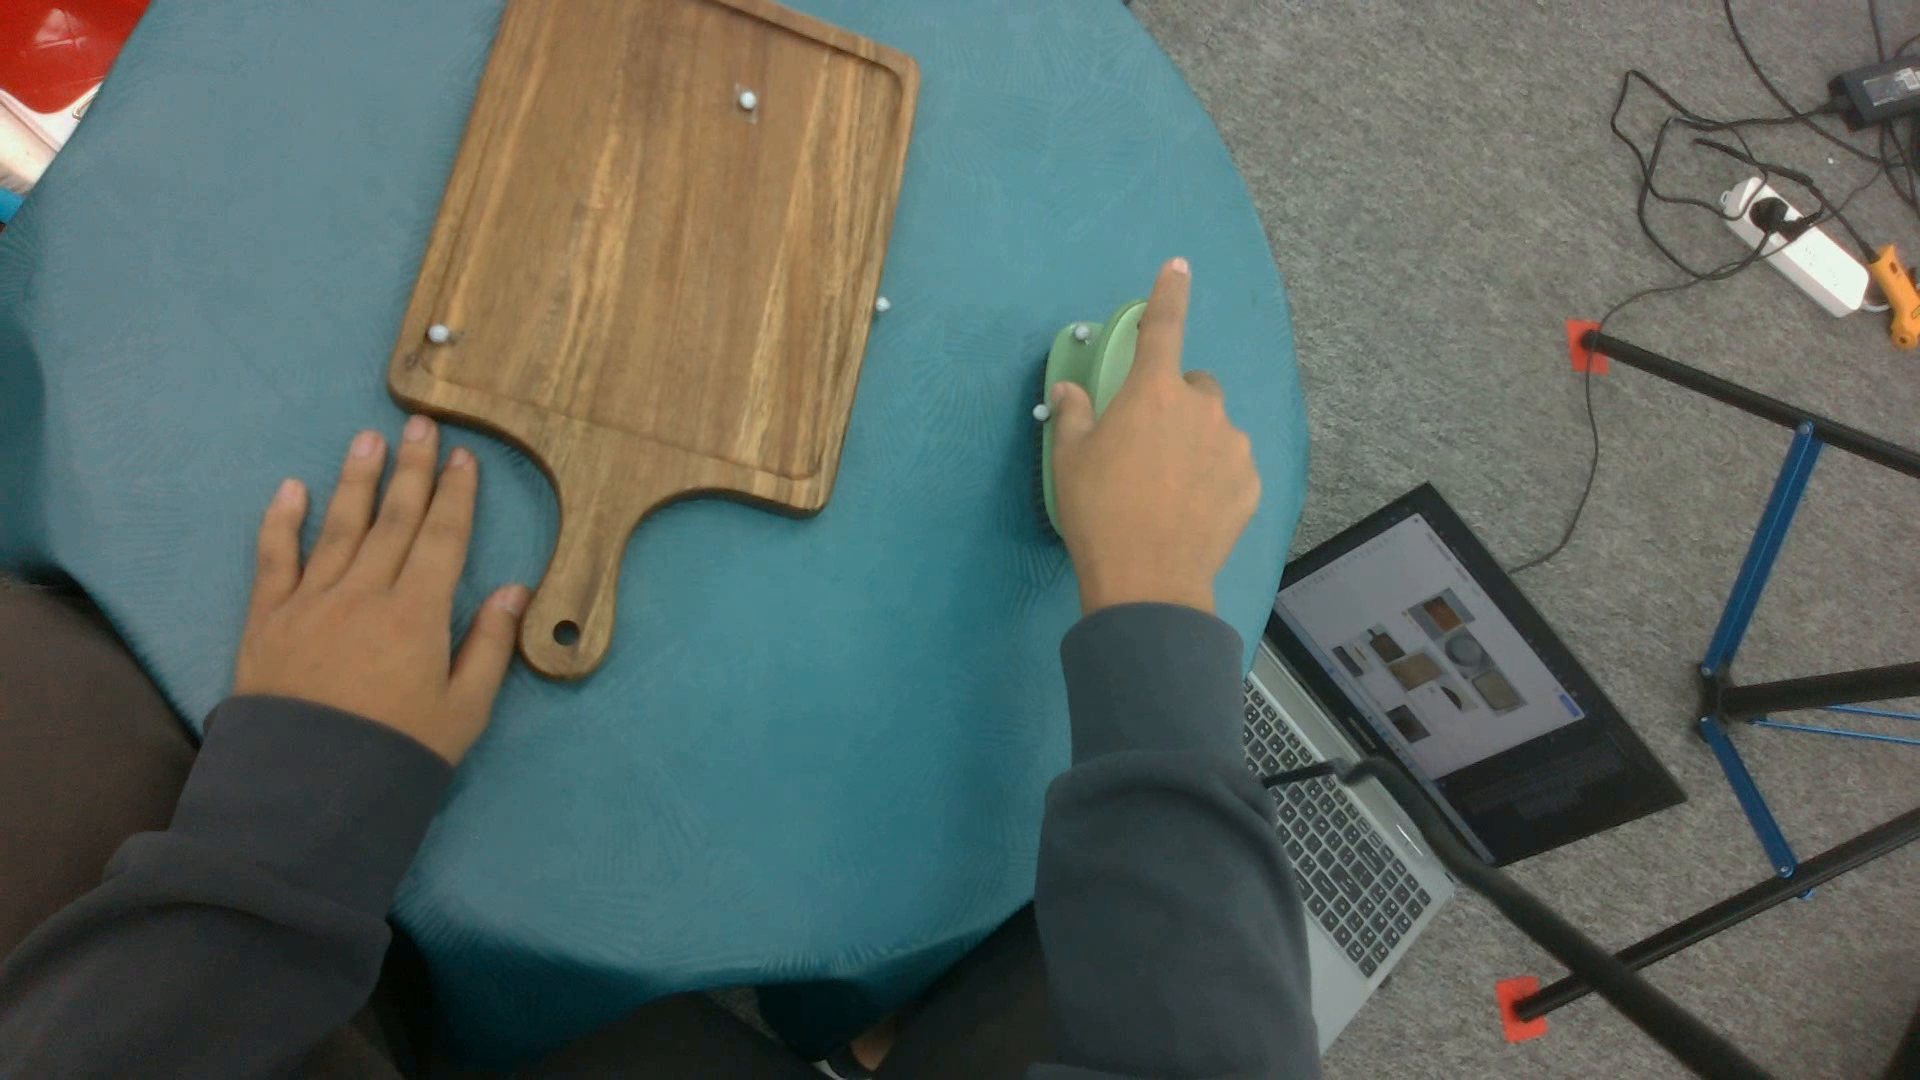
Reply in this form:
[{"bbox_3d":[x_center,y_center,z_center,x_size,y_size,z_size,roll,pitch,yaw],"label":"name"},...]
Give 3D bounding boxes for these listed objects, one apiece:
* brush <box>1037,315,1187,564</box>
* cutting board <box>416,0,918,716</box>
[{"bbox_3d":[0.075,-0.050,0.696,0.059,0.075,0.123,10,89,-20],"label":"brush"},{"bbox_3d":[-0.140,-0.091,0.656,0.201,0.023,0.353,14,72,-15],"label":"cutting board"}]
